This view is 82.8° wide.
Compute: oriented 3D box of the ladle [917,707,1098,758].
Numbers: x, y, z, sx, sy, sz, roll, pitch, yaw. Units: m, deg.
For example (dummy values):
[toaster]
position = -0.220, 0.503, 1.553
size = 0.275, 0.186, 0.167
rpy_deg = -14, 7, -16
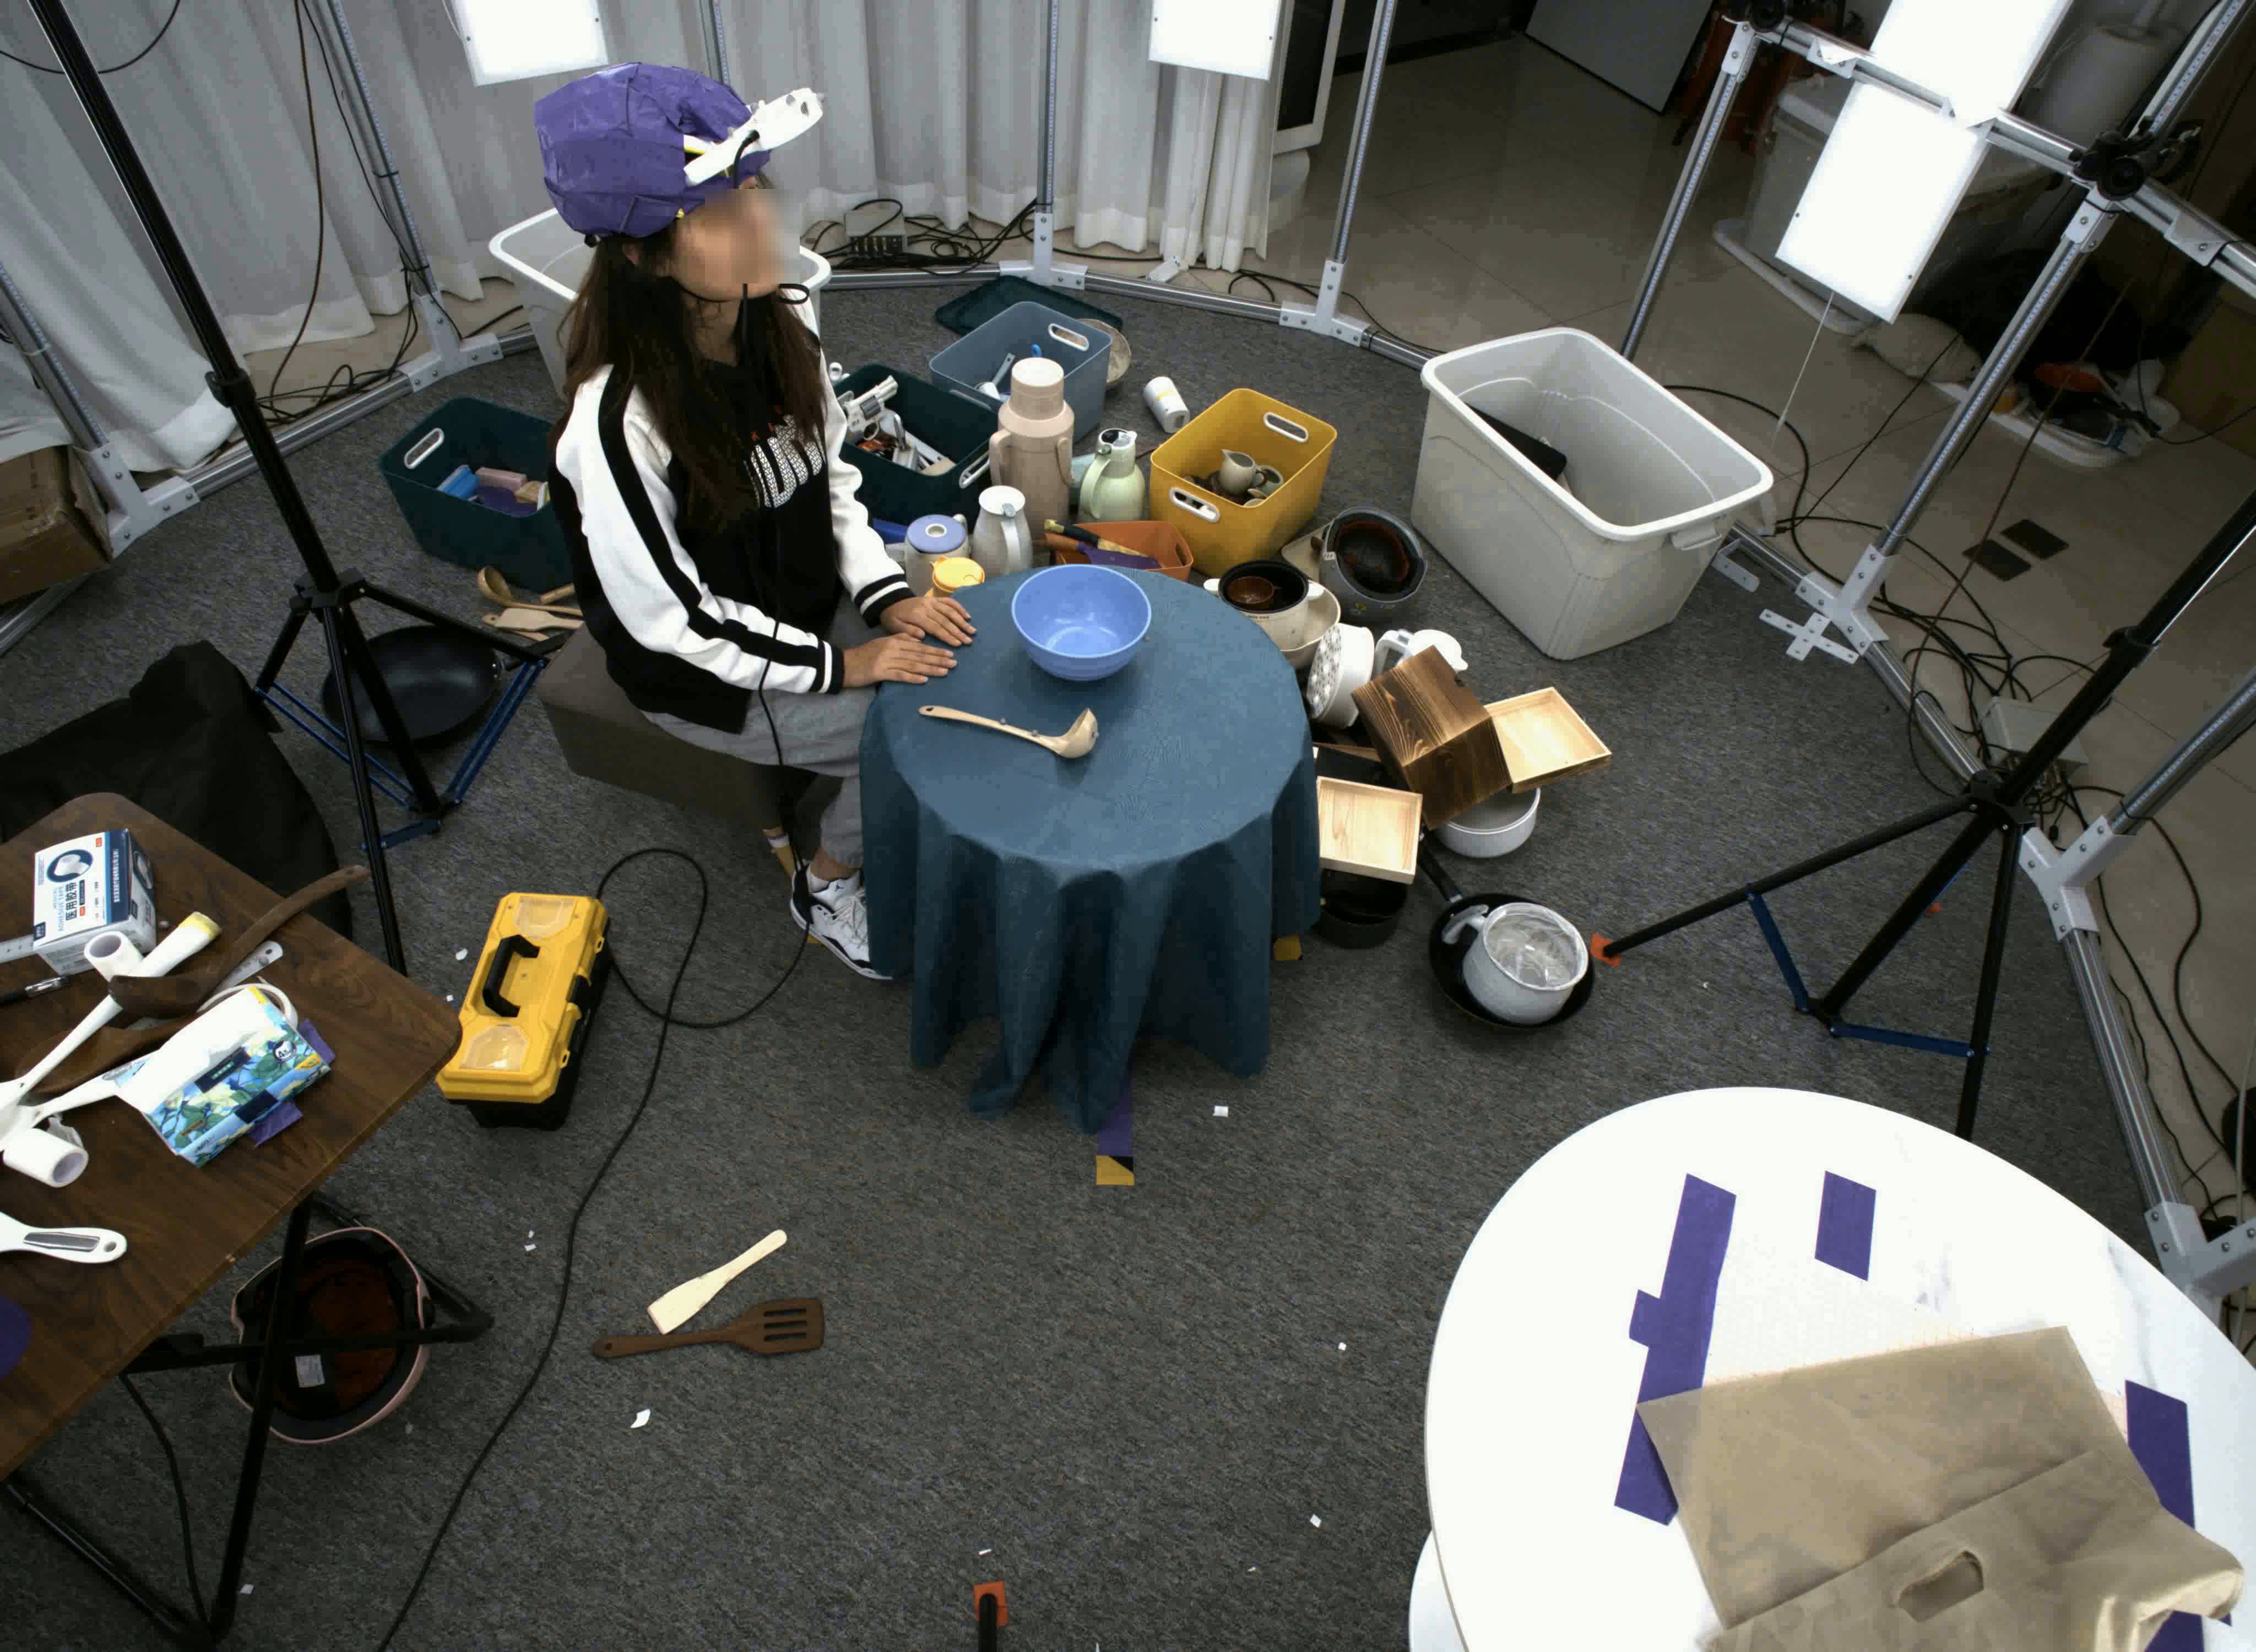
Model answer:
[ladle]
position = -0.167, -0.150, 1.742
size = 0.255, 0.071, 0.074
rpy_deg = 14, 48, 8

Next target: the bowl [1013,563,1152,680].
[bowl]
position = -0.069, -0.277, 1.843
size = 0.196, 0.093, 0.201
rpy_deg = 4, 49, -5
